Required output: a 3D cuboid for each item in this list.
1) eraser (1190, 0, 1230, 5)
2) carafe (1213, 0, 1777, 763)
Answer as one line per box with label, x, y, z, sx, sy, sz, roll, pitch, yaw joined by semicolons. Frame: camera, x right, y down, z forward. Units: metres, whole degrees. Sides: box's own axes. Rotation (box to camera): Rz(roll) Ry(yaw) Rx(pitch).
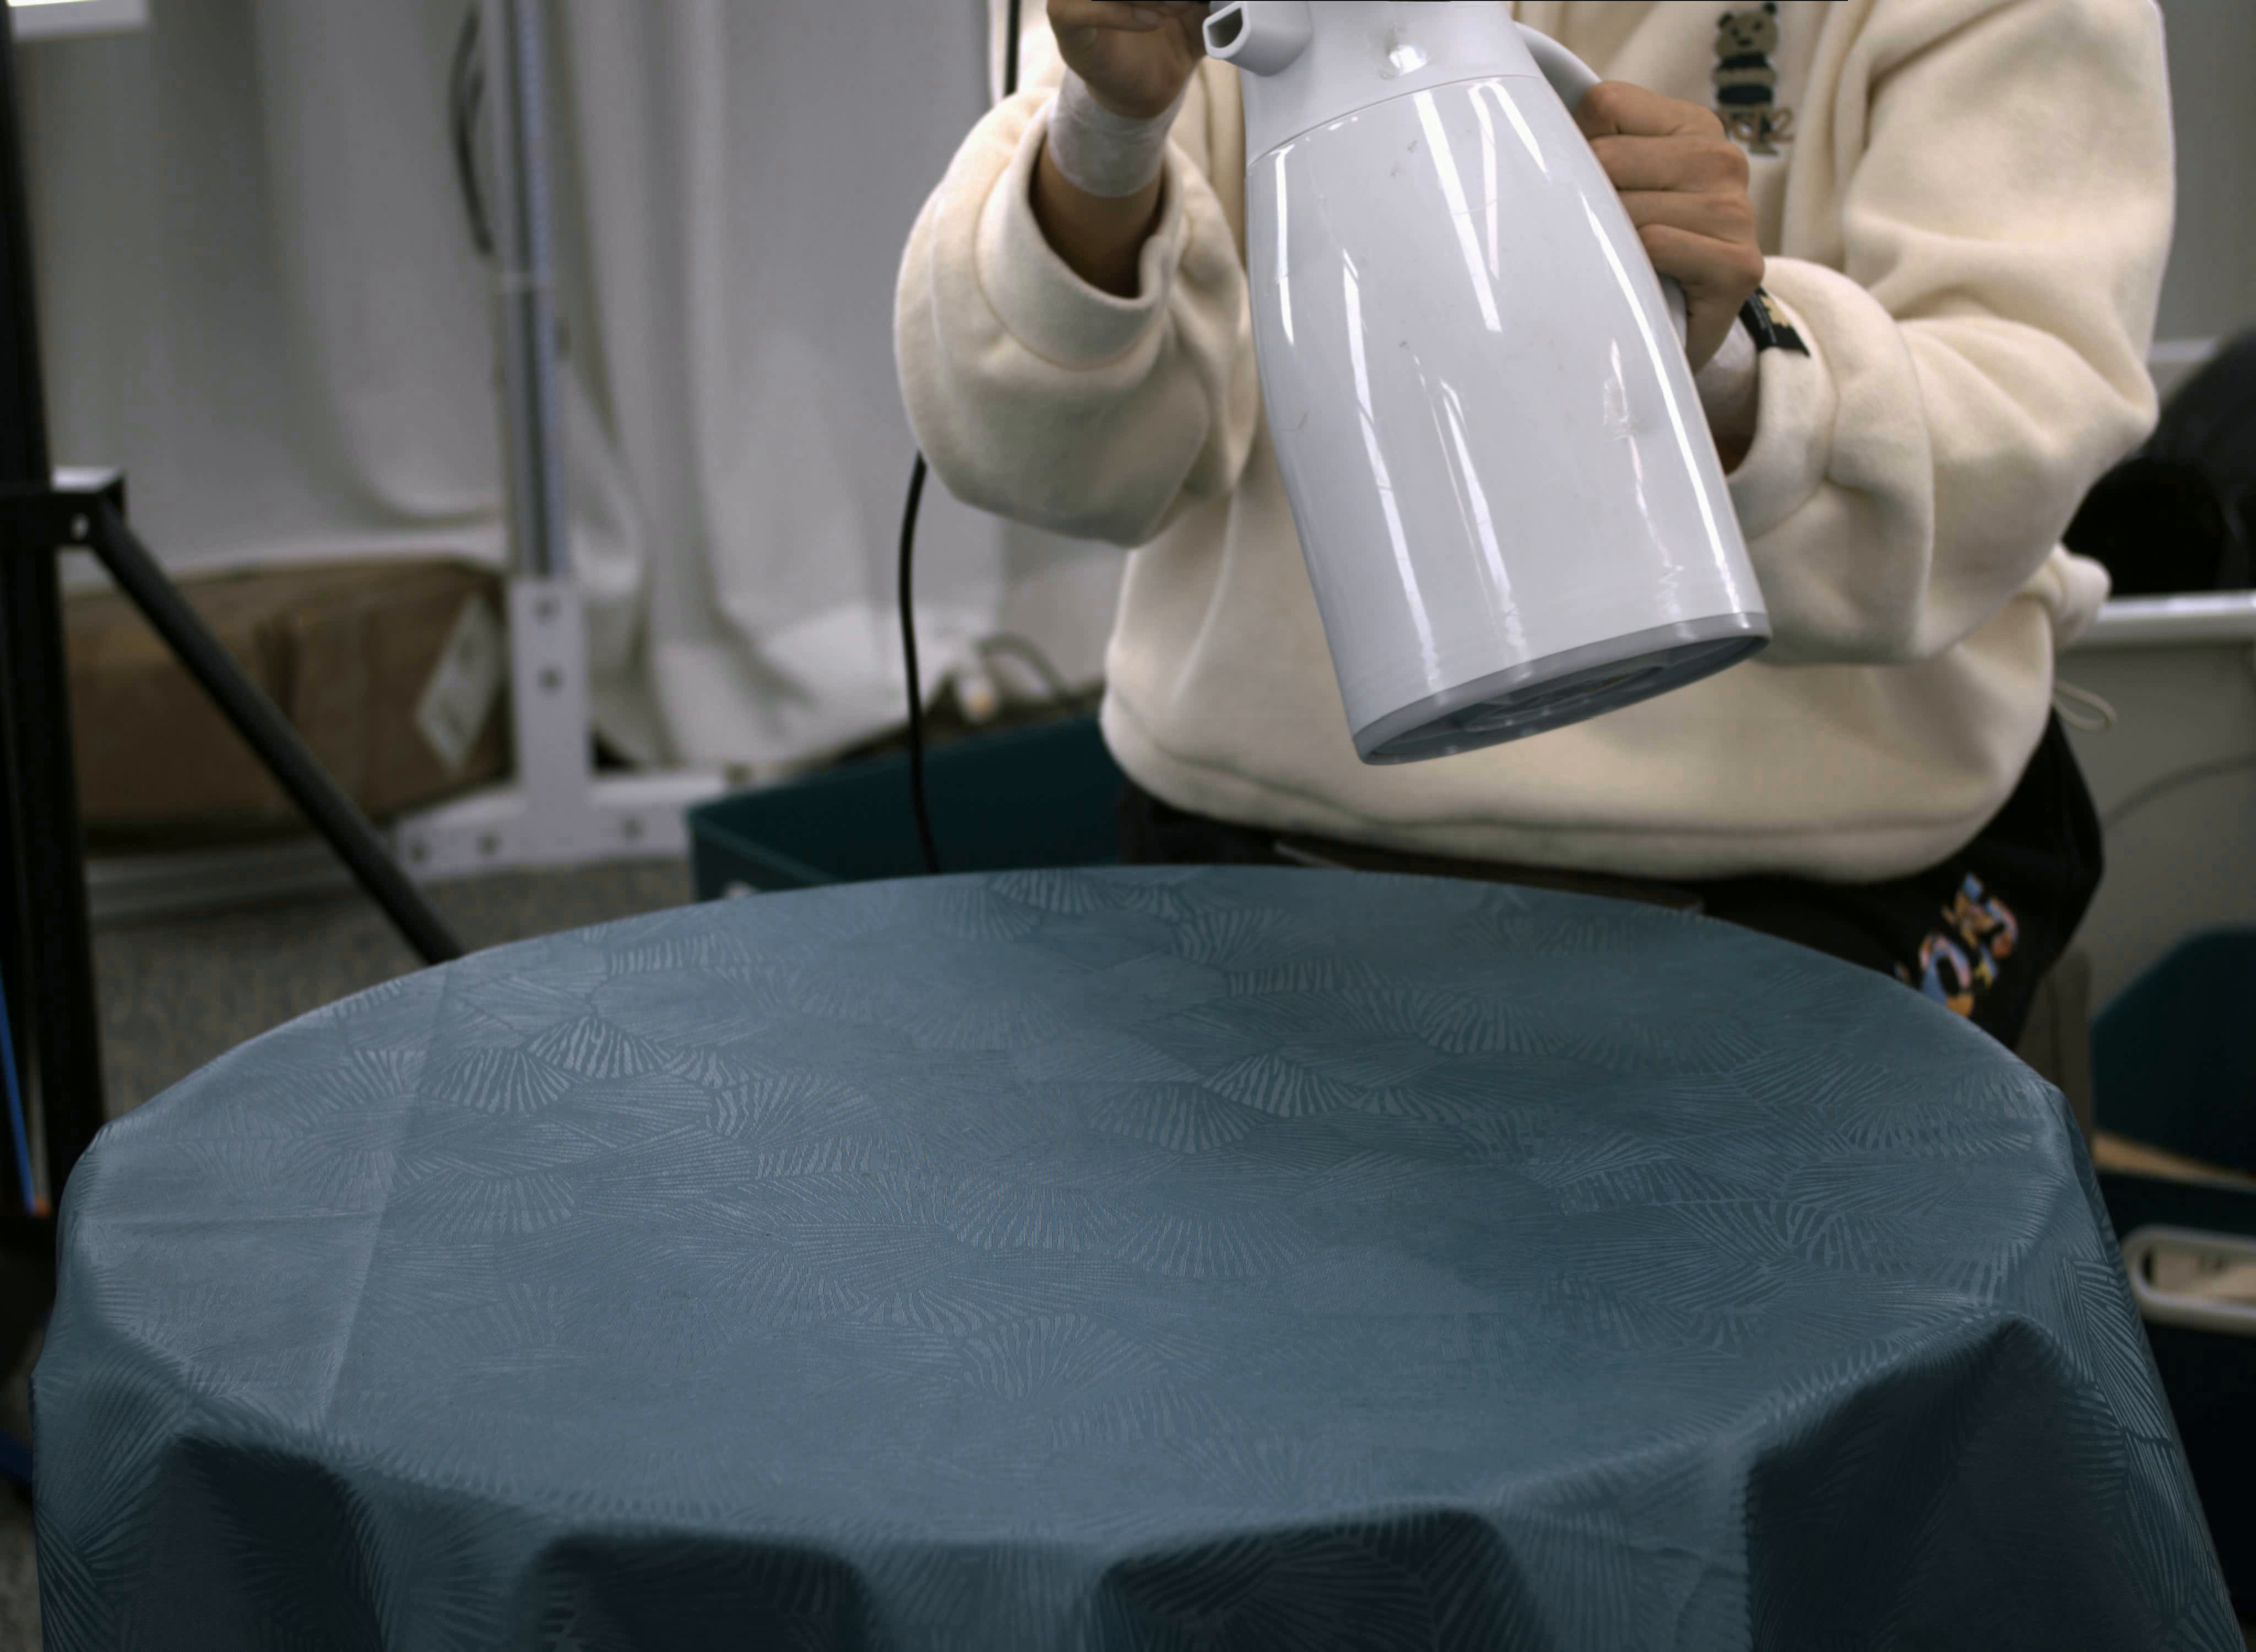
eraser;0.060;-0.290;1.632;0.062;0.035;0.133;-18;-5;-26
carafe;0.114;-0.158;1.649;0.163;0.251;0.135;-7;-12;-44
